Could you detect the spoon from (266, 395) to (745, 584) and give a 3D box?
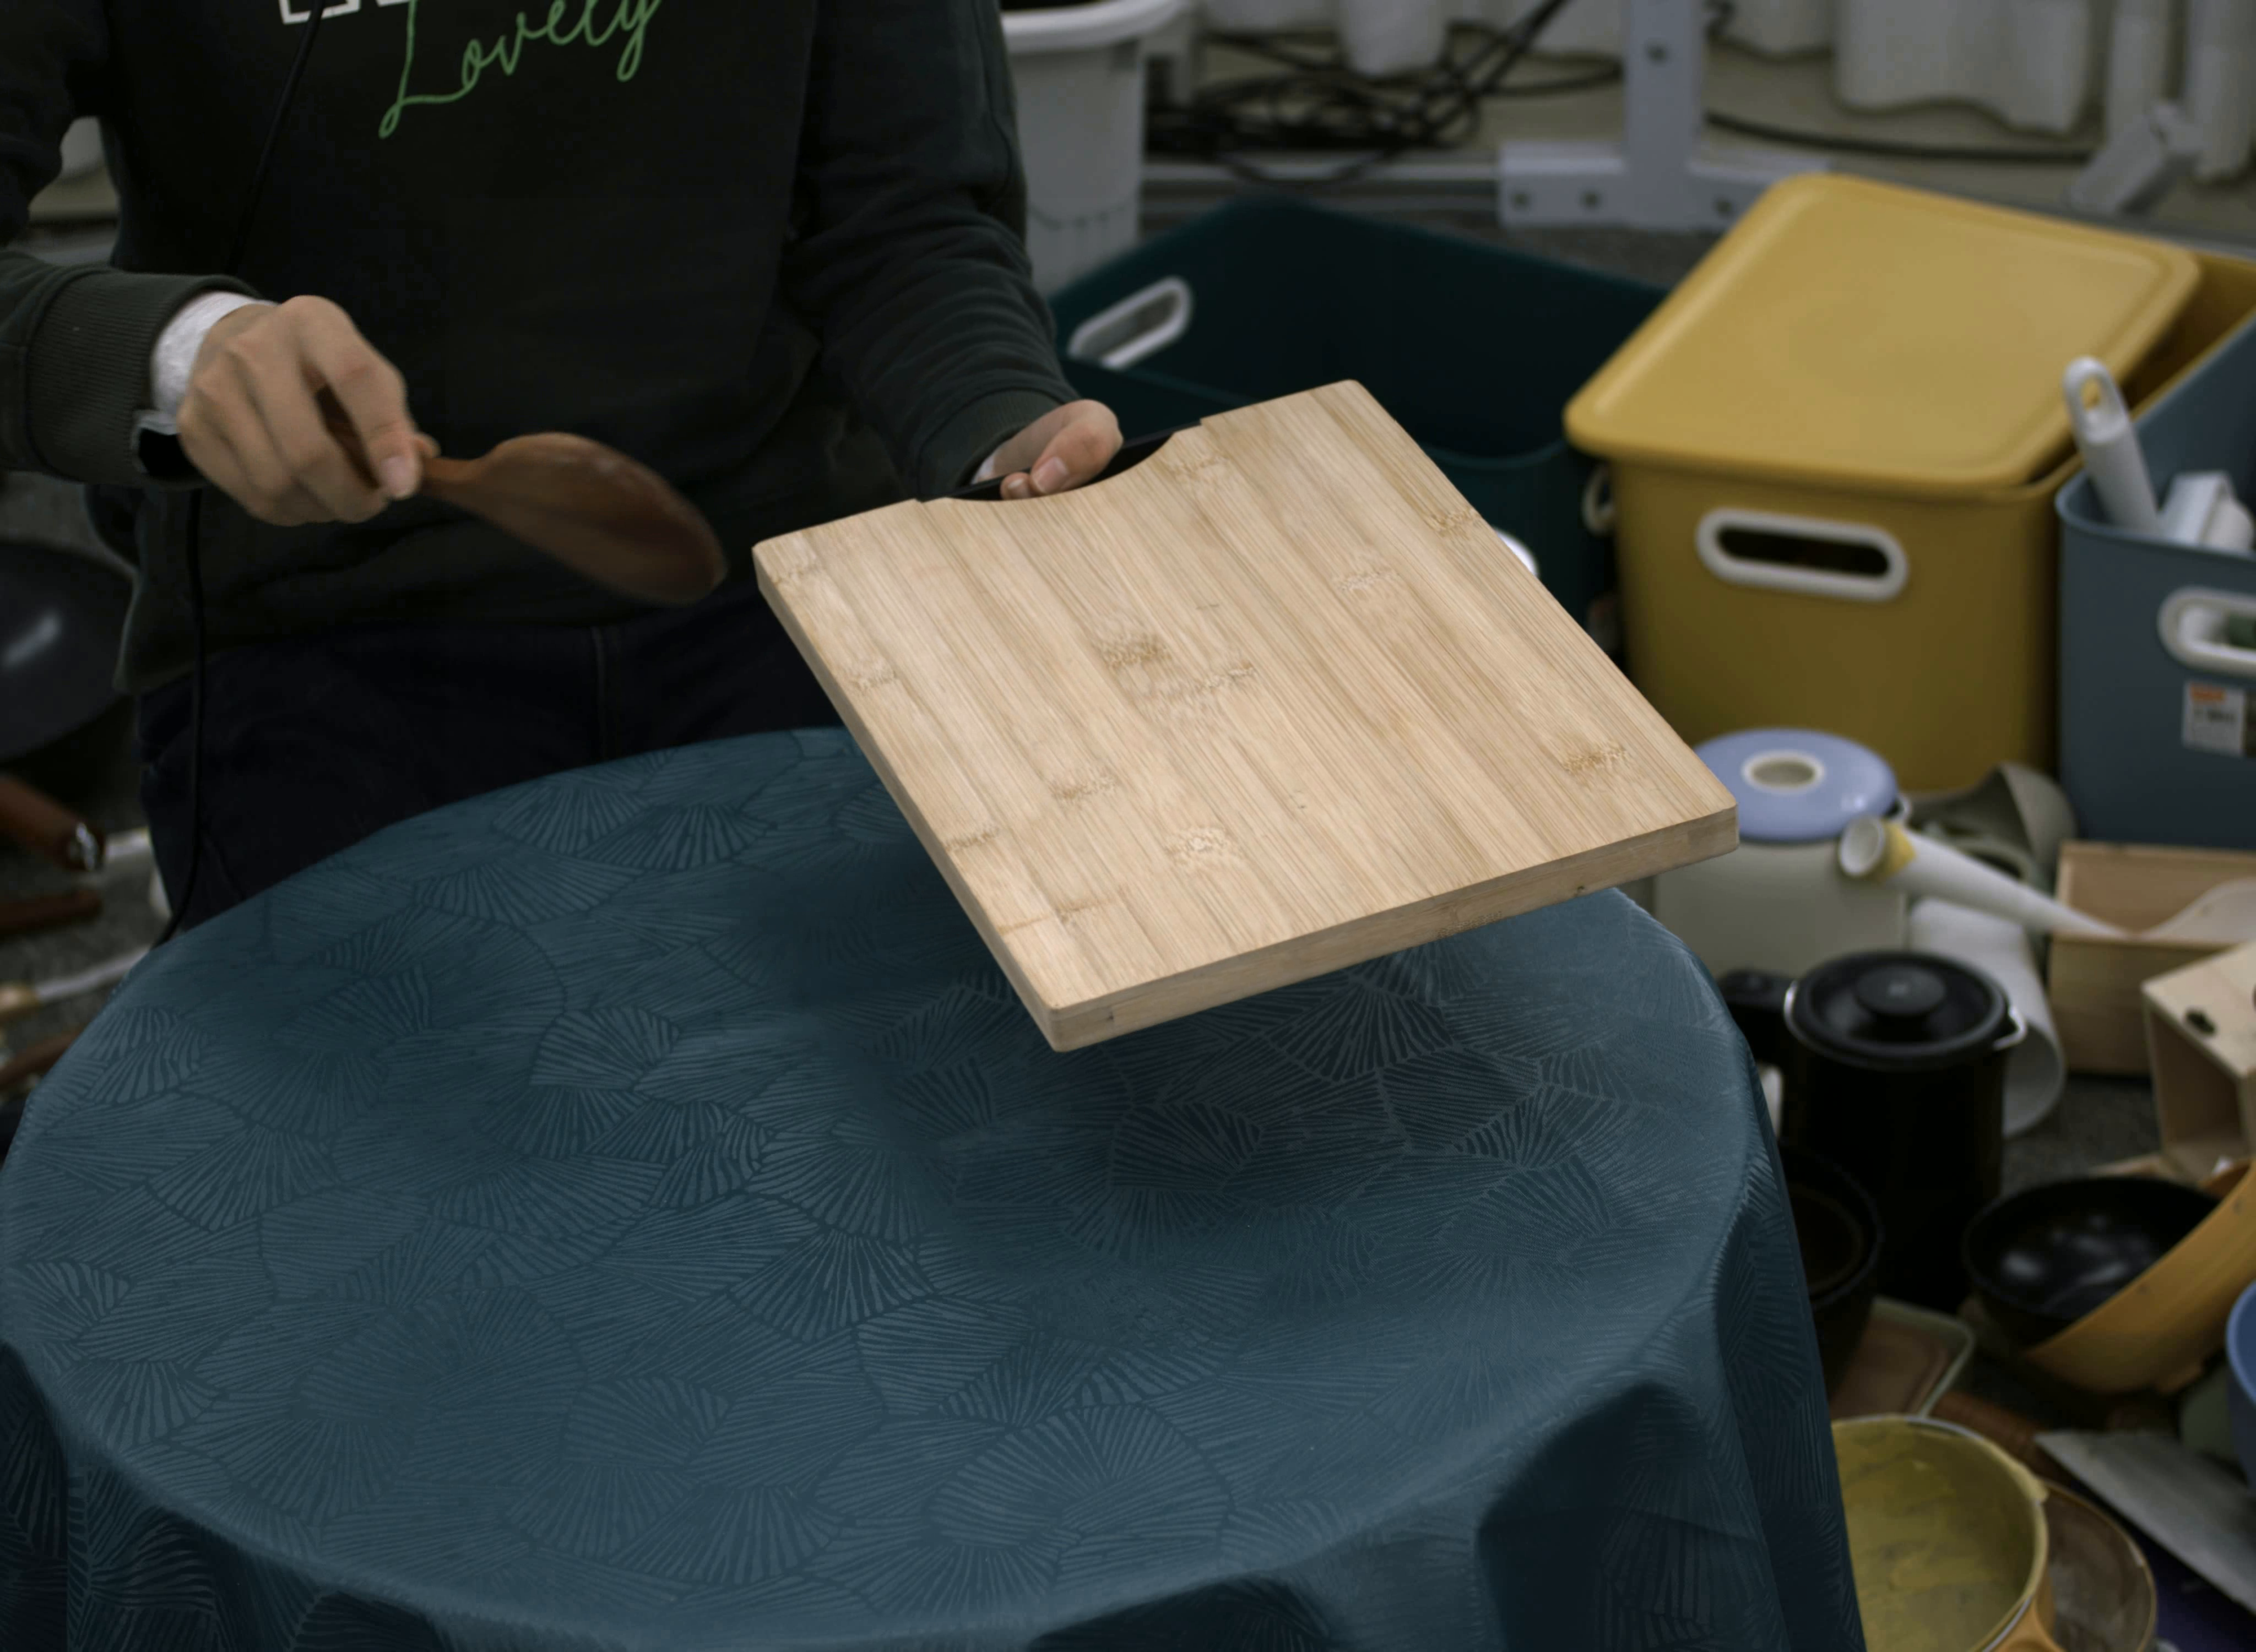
[{"bbox_3d":[-0.207,-0.112,1.828,0.215,0.075,0.017,16,66,41],"label":"spoon"}]

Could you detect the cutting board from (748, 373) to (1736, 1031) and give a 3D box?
[{"bbox_3d":[0.030,-0.050,1.945,0.251,0.023,0.352,-16,32,-15],"label":"cutting board"}]
